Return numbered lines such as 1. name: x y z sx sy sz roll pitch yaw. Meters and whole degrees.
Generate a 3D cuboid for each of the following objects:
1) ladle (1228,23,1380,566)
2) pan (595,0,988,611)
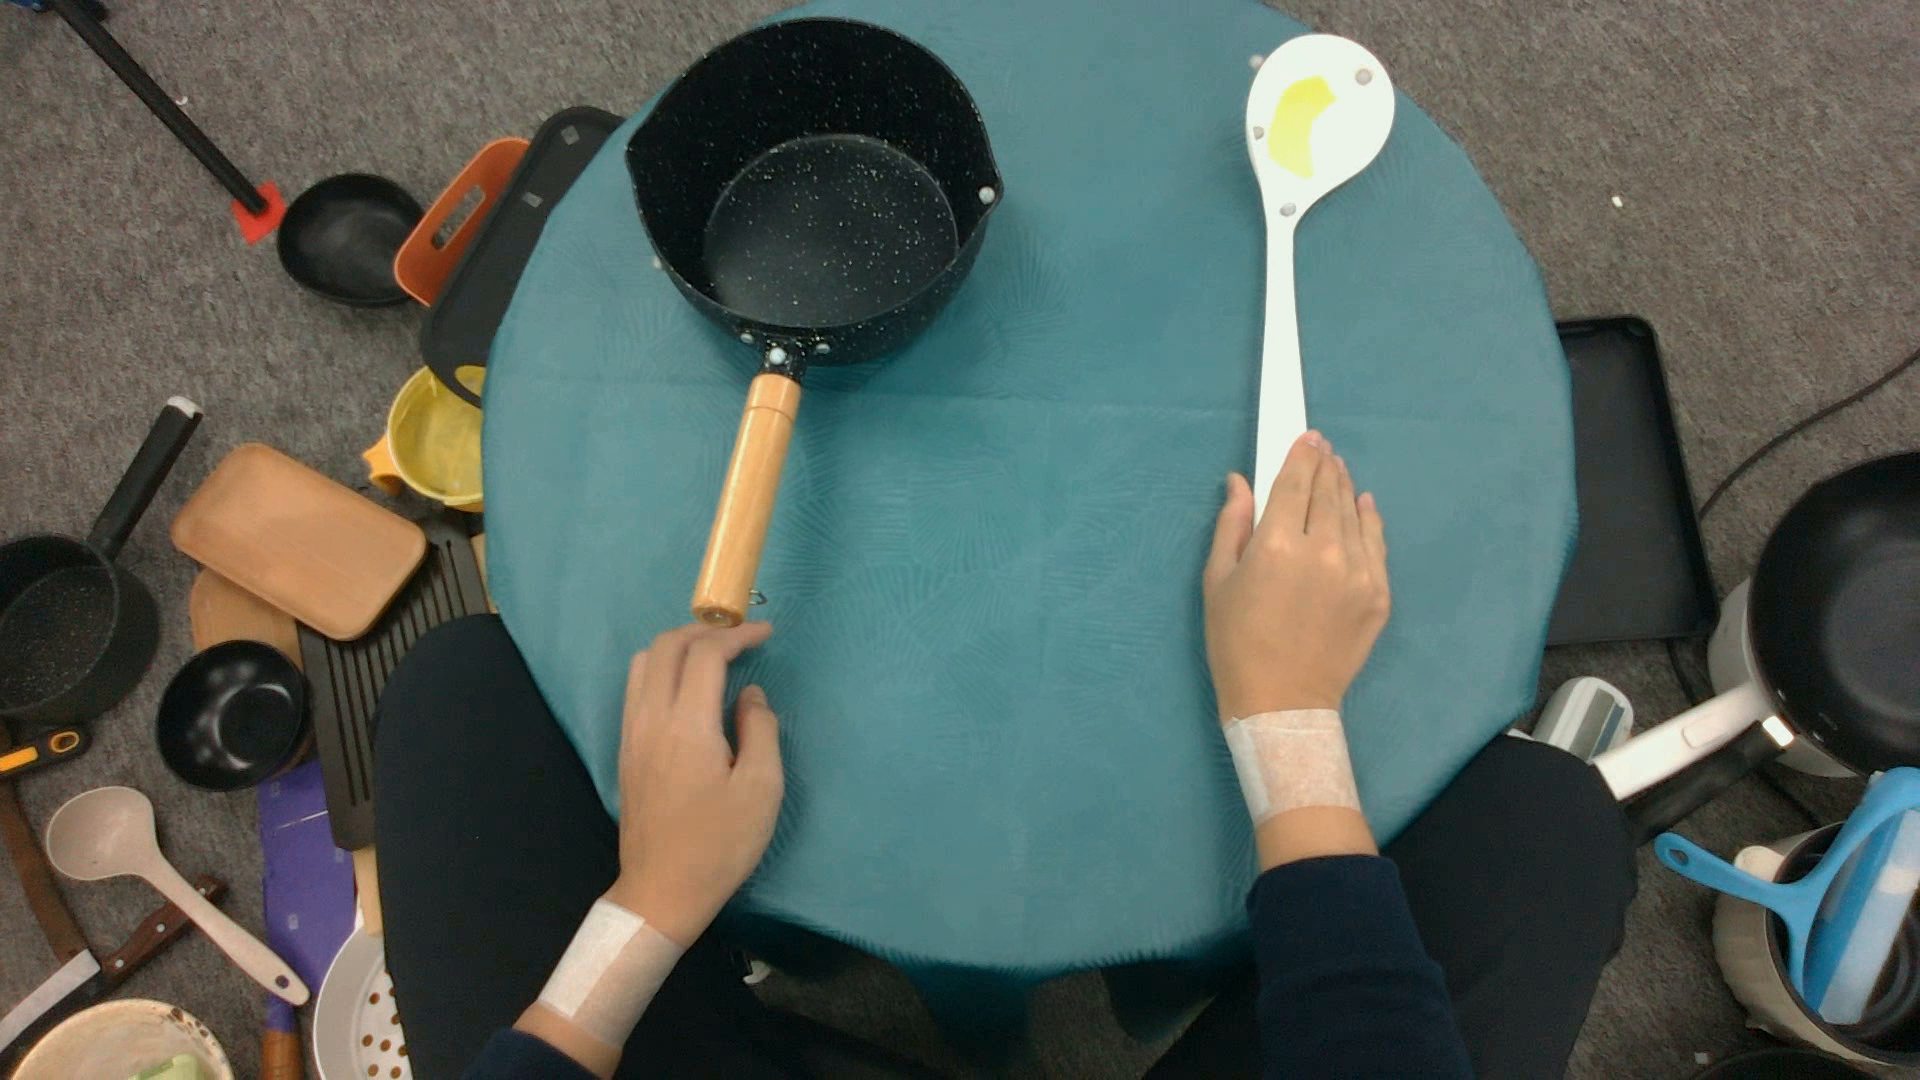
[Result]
1. ladle: 0.180 -0.133 0.745 0.090 0.069 0.294 15 72 -28
2. pan: -0.095 -0.117 0.716 0.207 0.108 0.344 6 72 2
